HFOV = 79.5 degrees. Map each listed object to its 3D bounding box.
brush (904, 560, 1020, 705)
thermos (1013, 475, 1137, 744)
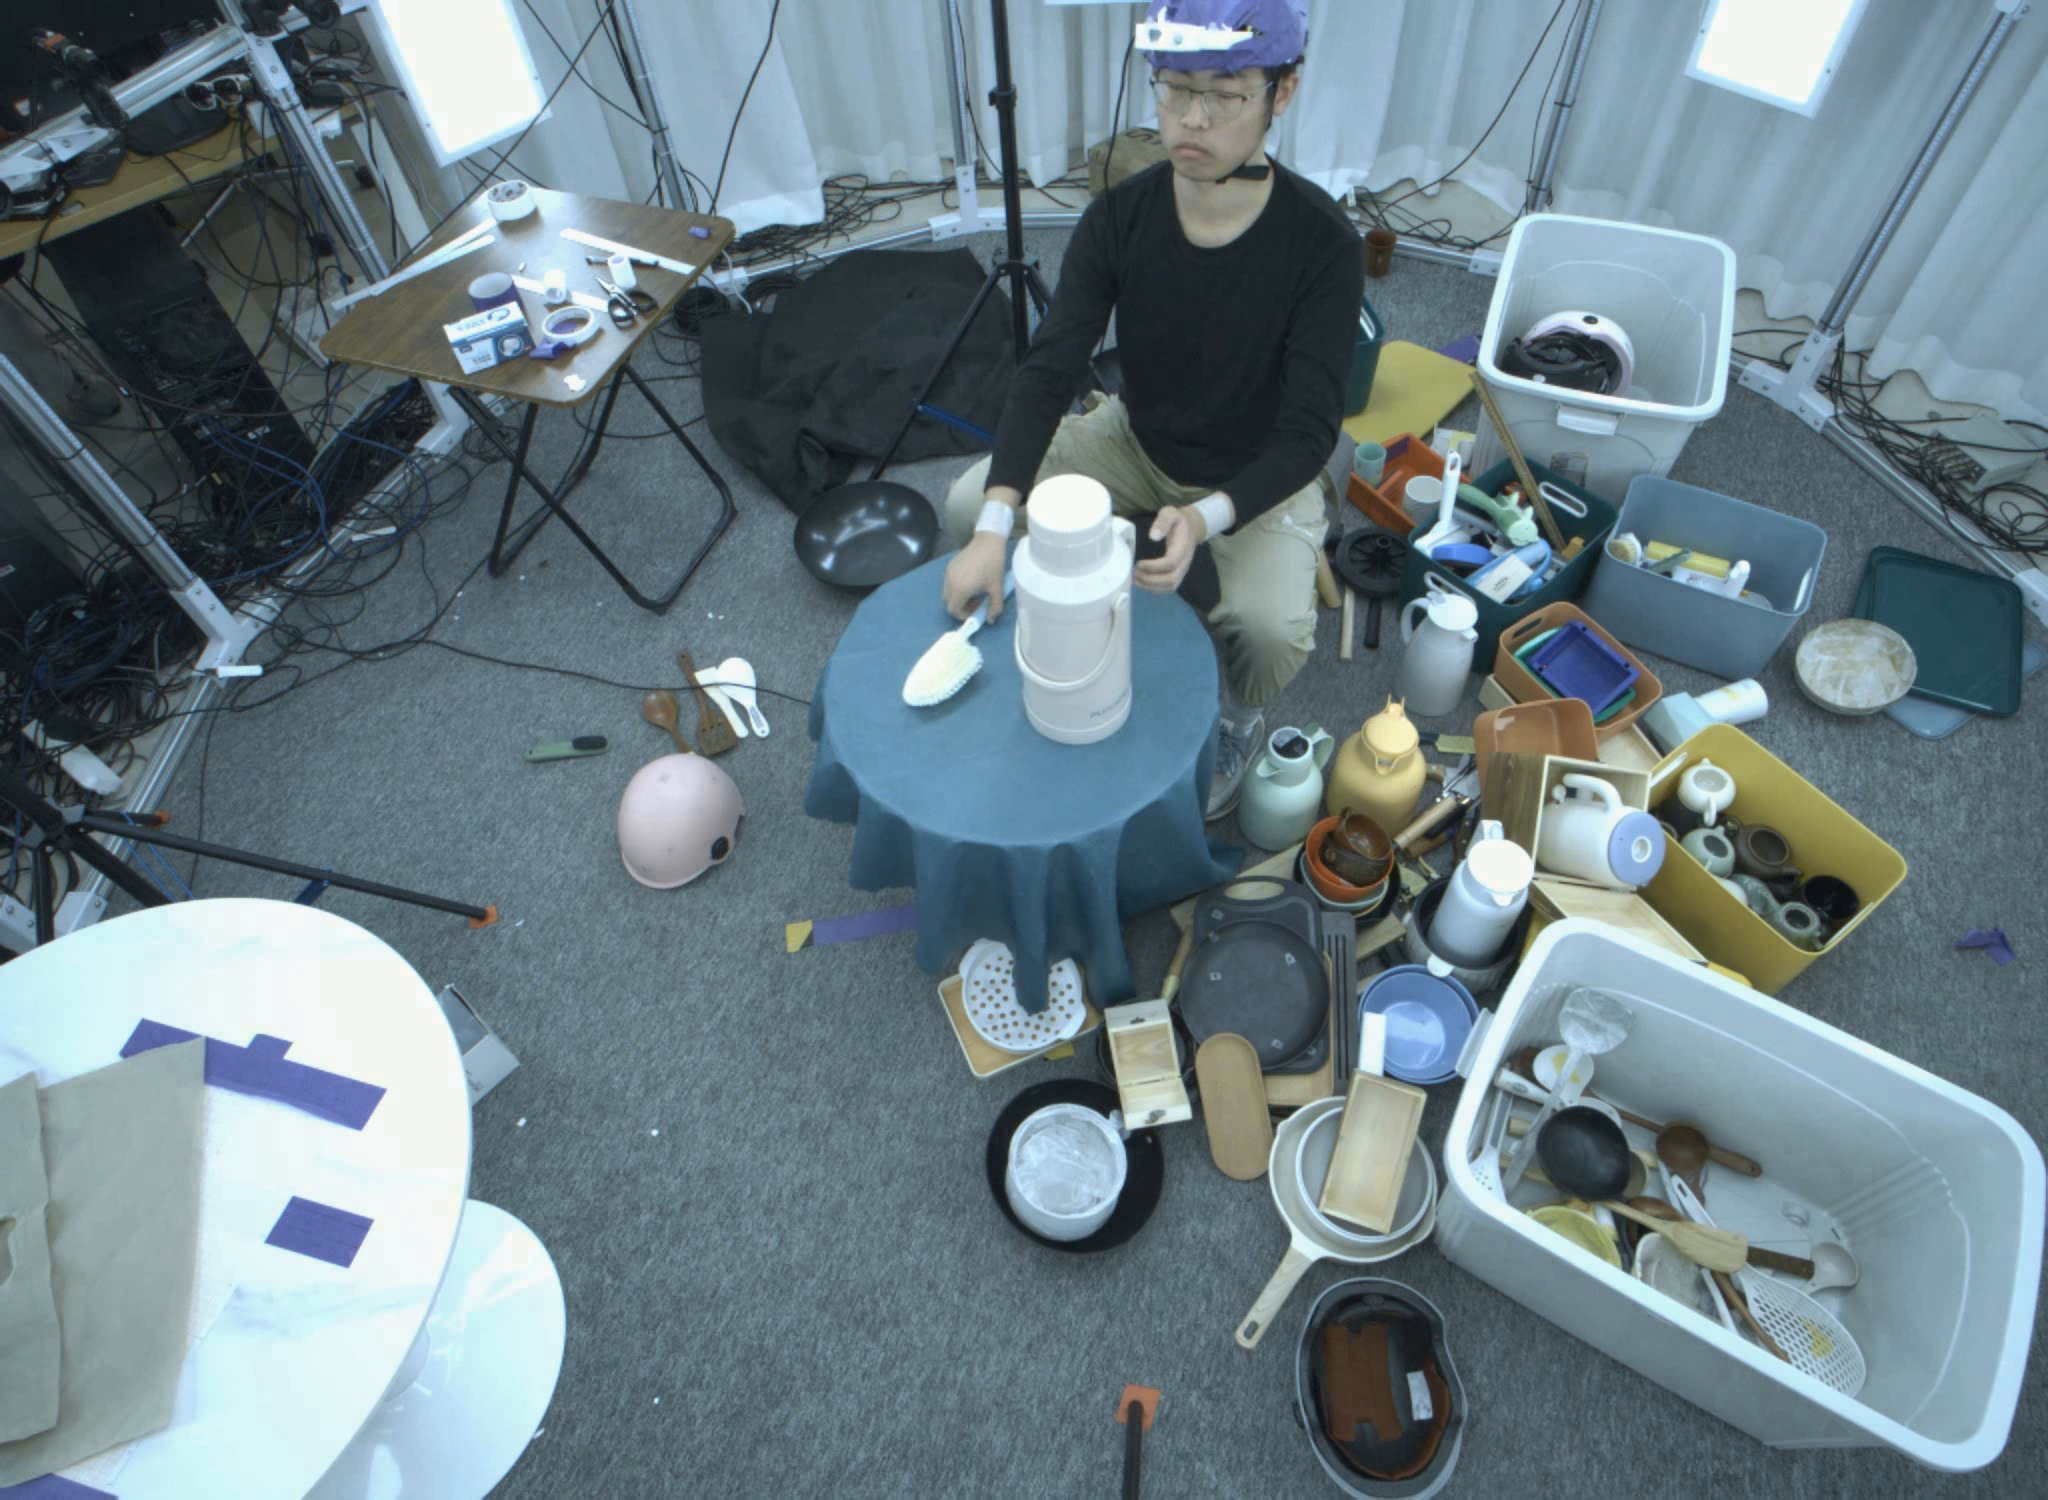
[{"bbox_3d":[-0.071,-0.190,1.877,0.083,0.084,0.326,26,61,21],"label":"brush"},{"bbox_3d":[0.080,-0.195,1.678,0.172,0.411,0.208,33,63,26],"label":"thermos"}]
